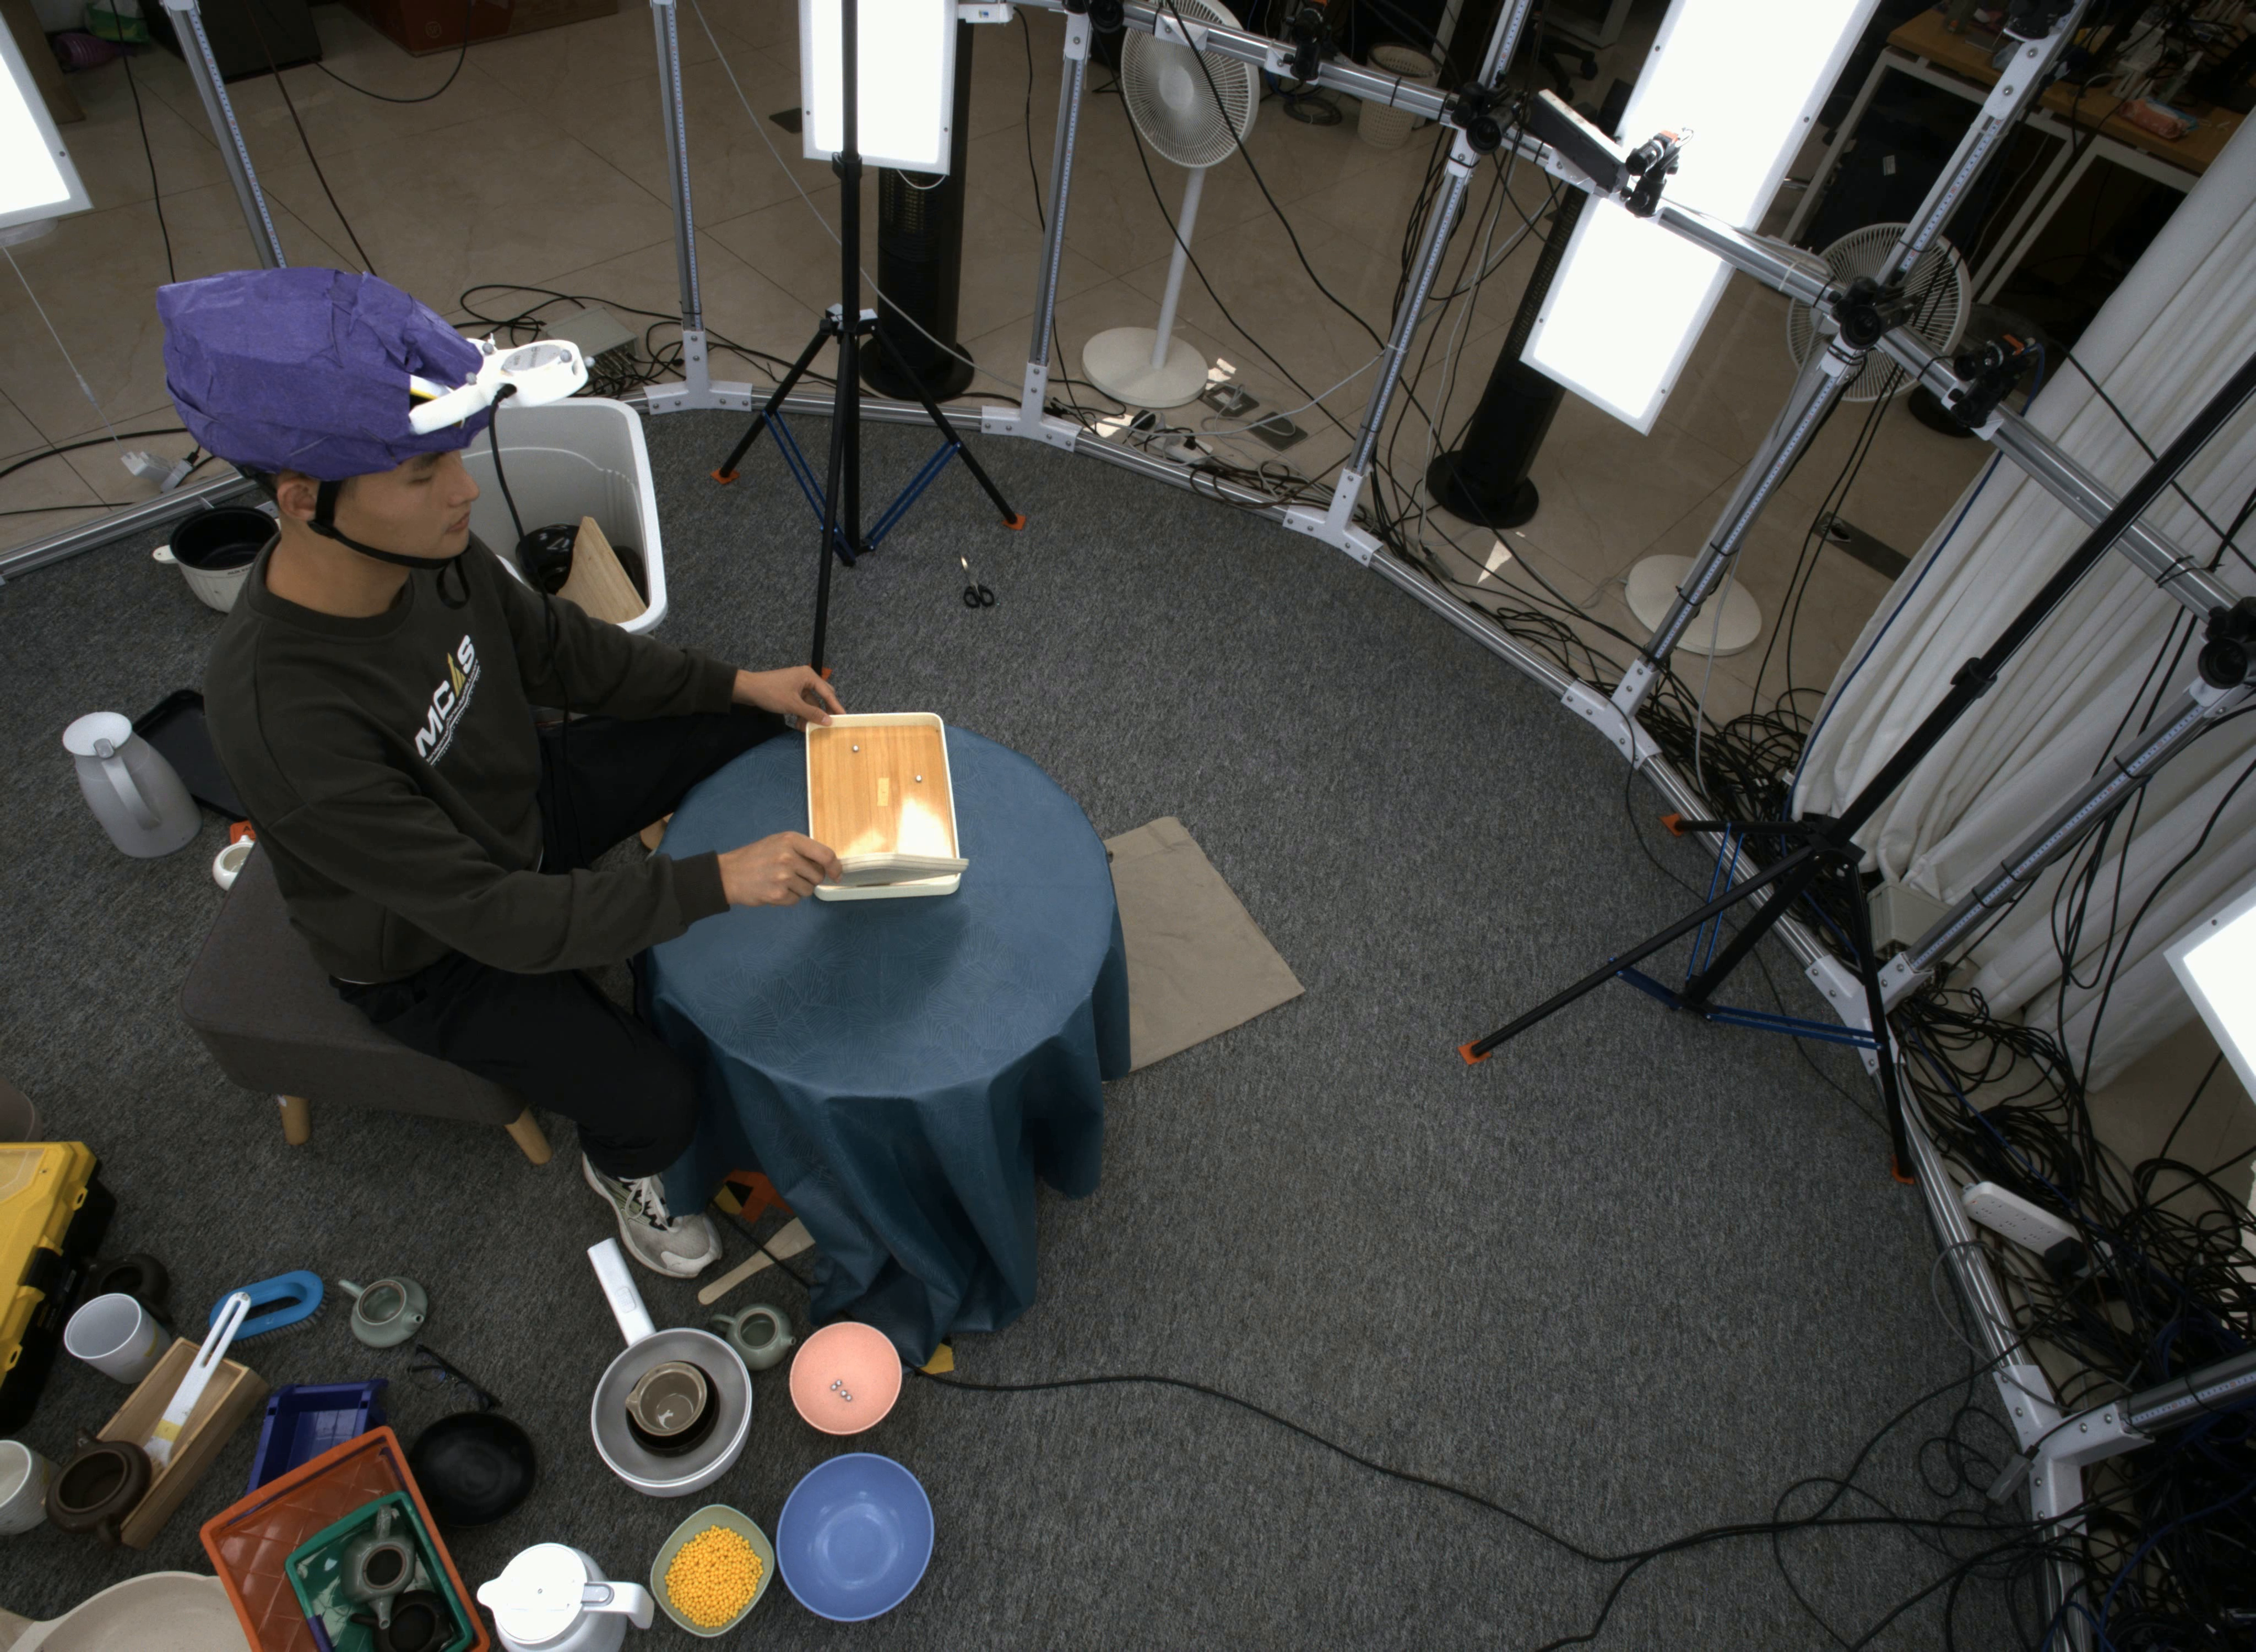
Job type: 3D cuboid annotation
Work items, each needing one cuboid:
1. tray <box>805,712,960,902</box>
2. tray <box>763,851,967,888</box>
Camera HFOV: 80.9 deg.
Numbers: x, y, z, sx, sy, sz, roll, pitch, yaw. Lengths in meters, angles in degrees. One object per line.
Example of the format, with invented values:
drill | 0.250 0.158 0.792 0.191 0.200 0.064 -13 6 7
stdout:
tray | -0.336 -0.033 1.764 0.192 0.028 0.293 -3 54 -15
tray | -0.311 0.054 1.569 0.167 0.244 0.017 -9 83 19
